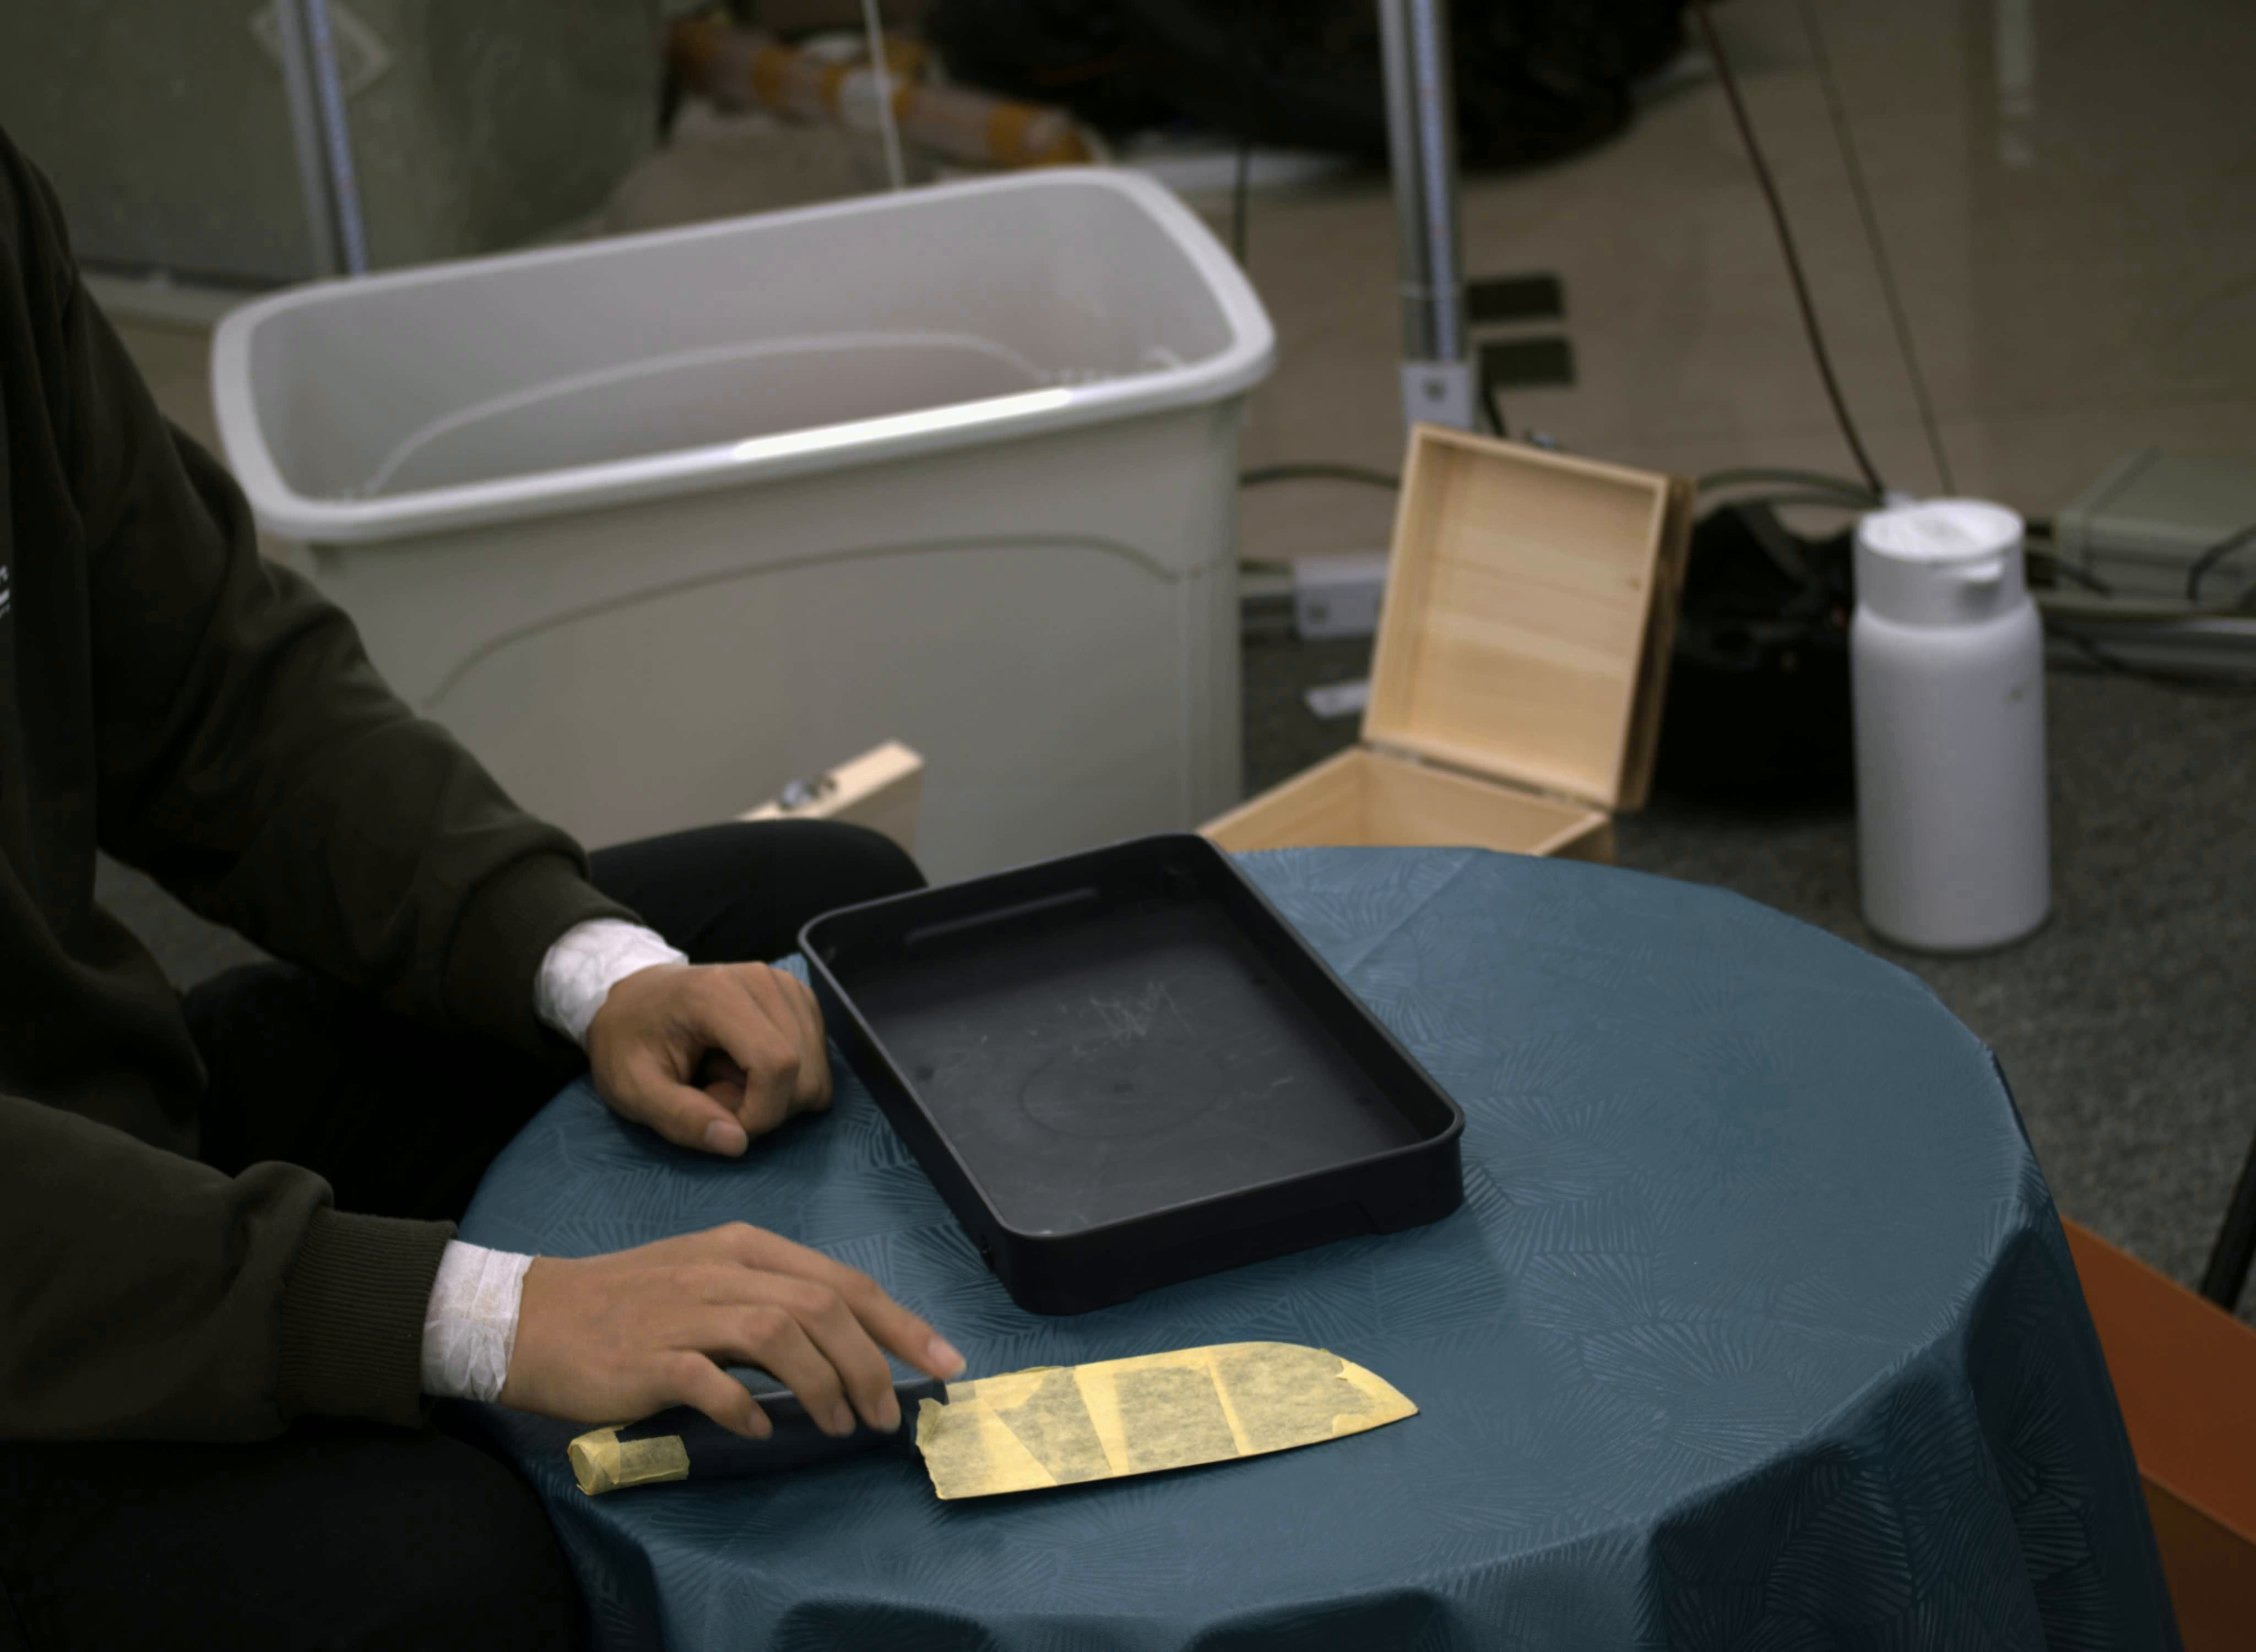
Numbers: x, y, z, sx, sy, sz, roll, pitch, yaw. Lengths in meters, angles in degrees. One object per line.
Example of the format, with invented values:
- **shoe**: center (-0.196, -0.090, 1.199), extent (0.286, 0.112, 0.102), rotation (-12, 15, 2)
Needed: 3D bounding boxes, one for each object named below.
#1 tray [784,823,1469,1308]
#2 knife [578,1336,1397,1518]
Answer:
- **tray**: center (-0.005, 0.088, 2.219), extent (0.183, 0.037, 0.314), rotation (-15, 26, -16)
- **knife**: center (-0.048, 0.214, 1.986), extent (0.289, 0.027, 0.080), rotation (-8, 26, -5)
